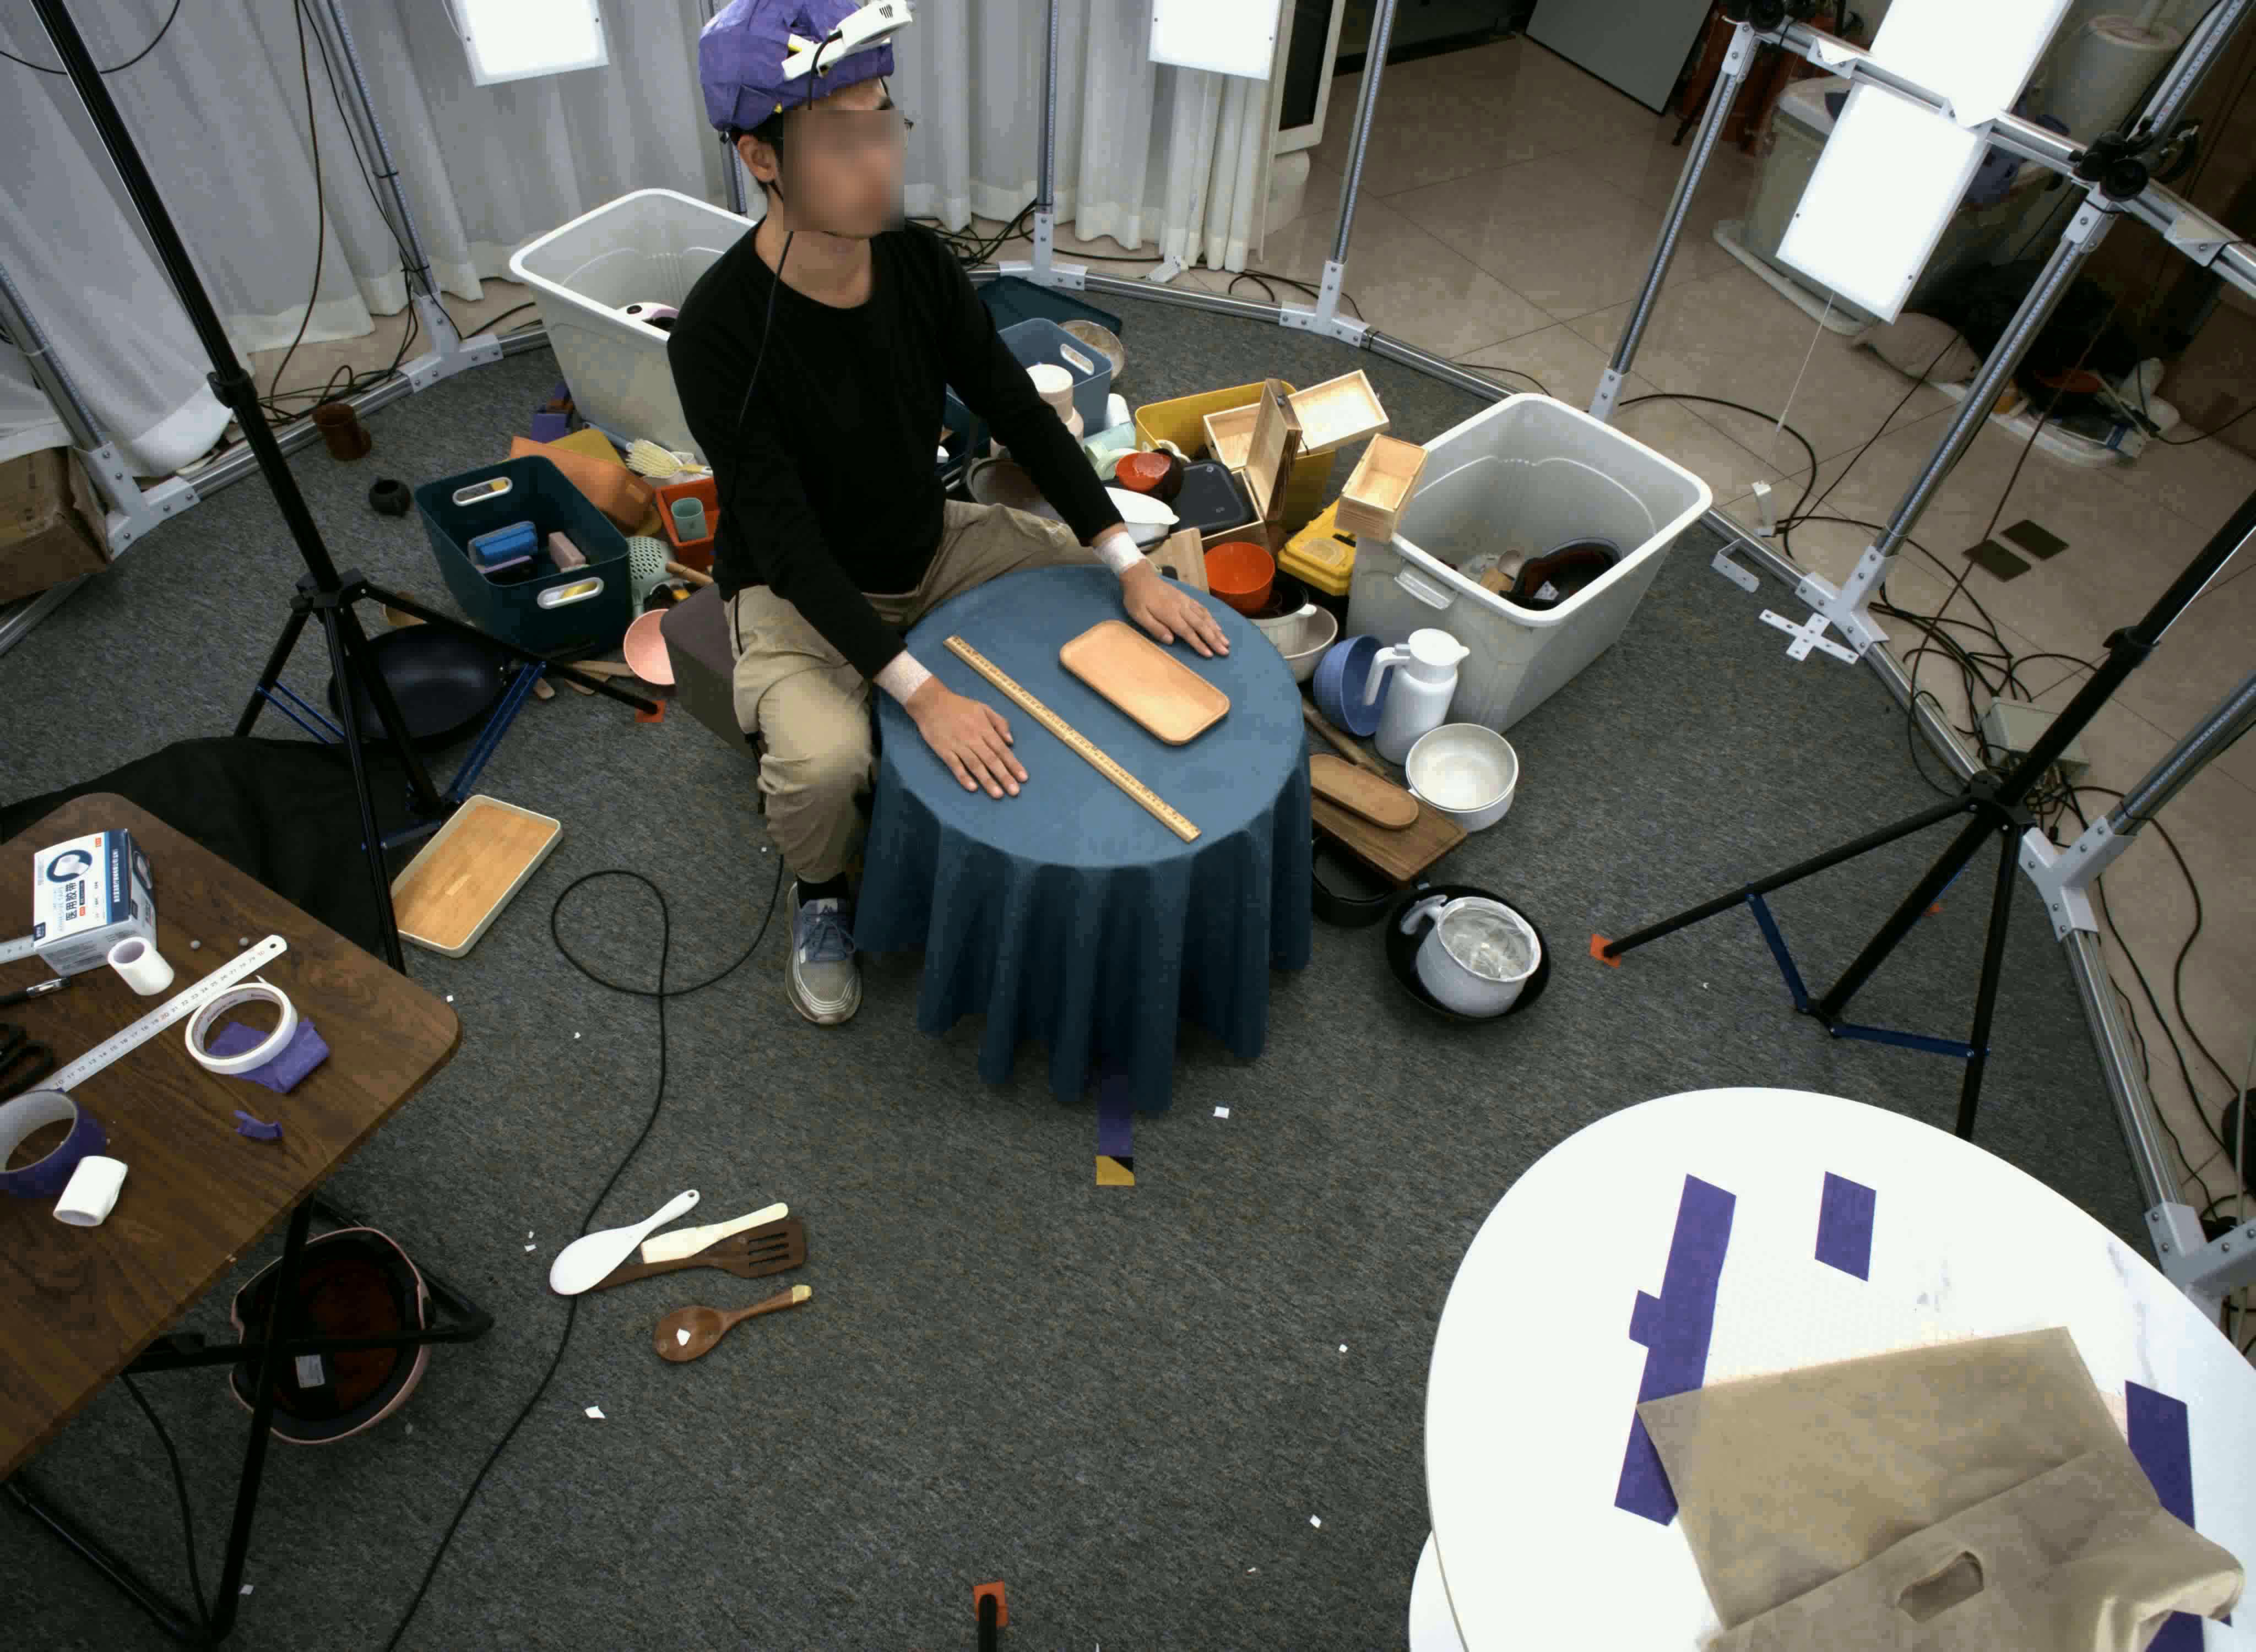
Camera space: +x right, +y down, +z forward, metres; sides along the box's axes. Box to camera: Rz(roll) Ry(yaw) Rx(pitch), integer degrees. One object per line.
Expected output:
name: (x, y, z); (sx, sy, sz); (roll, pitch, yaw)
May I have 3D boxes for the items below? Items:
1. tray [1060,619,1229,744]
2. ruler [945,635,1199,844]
tray: (0.022, -0.210, 1.843); (0.131, 0.022, 0.255); (-33, 57, -30)
ruler: (-0.086, -0.129, 1.773); (0.027, 0.006, 0.508); (-32, 58, -31)
